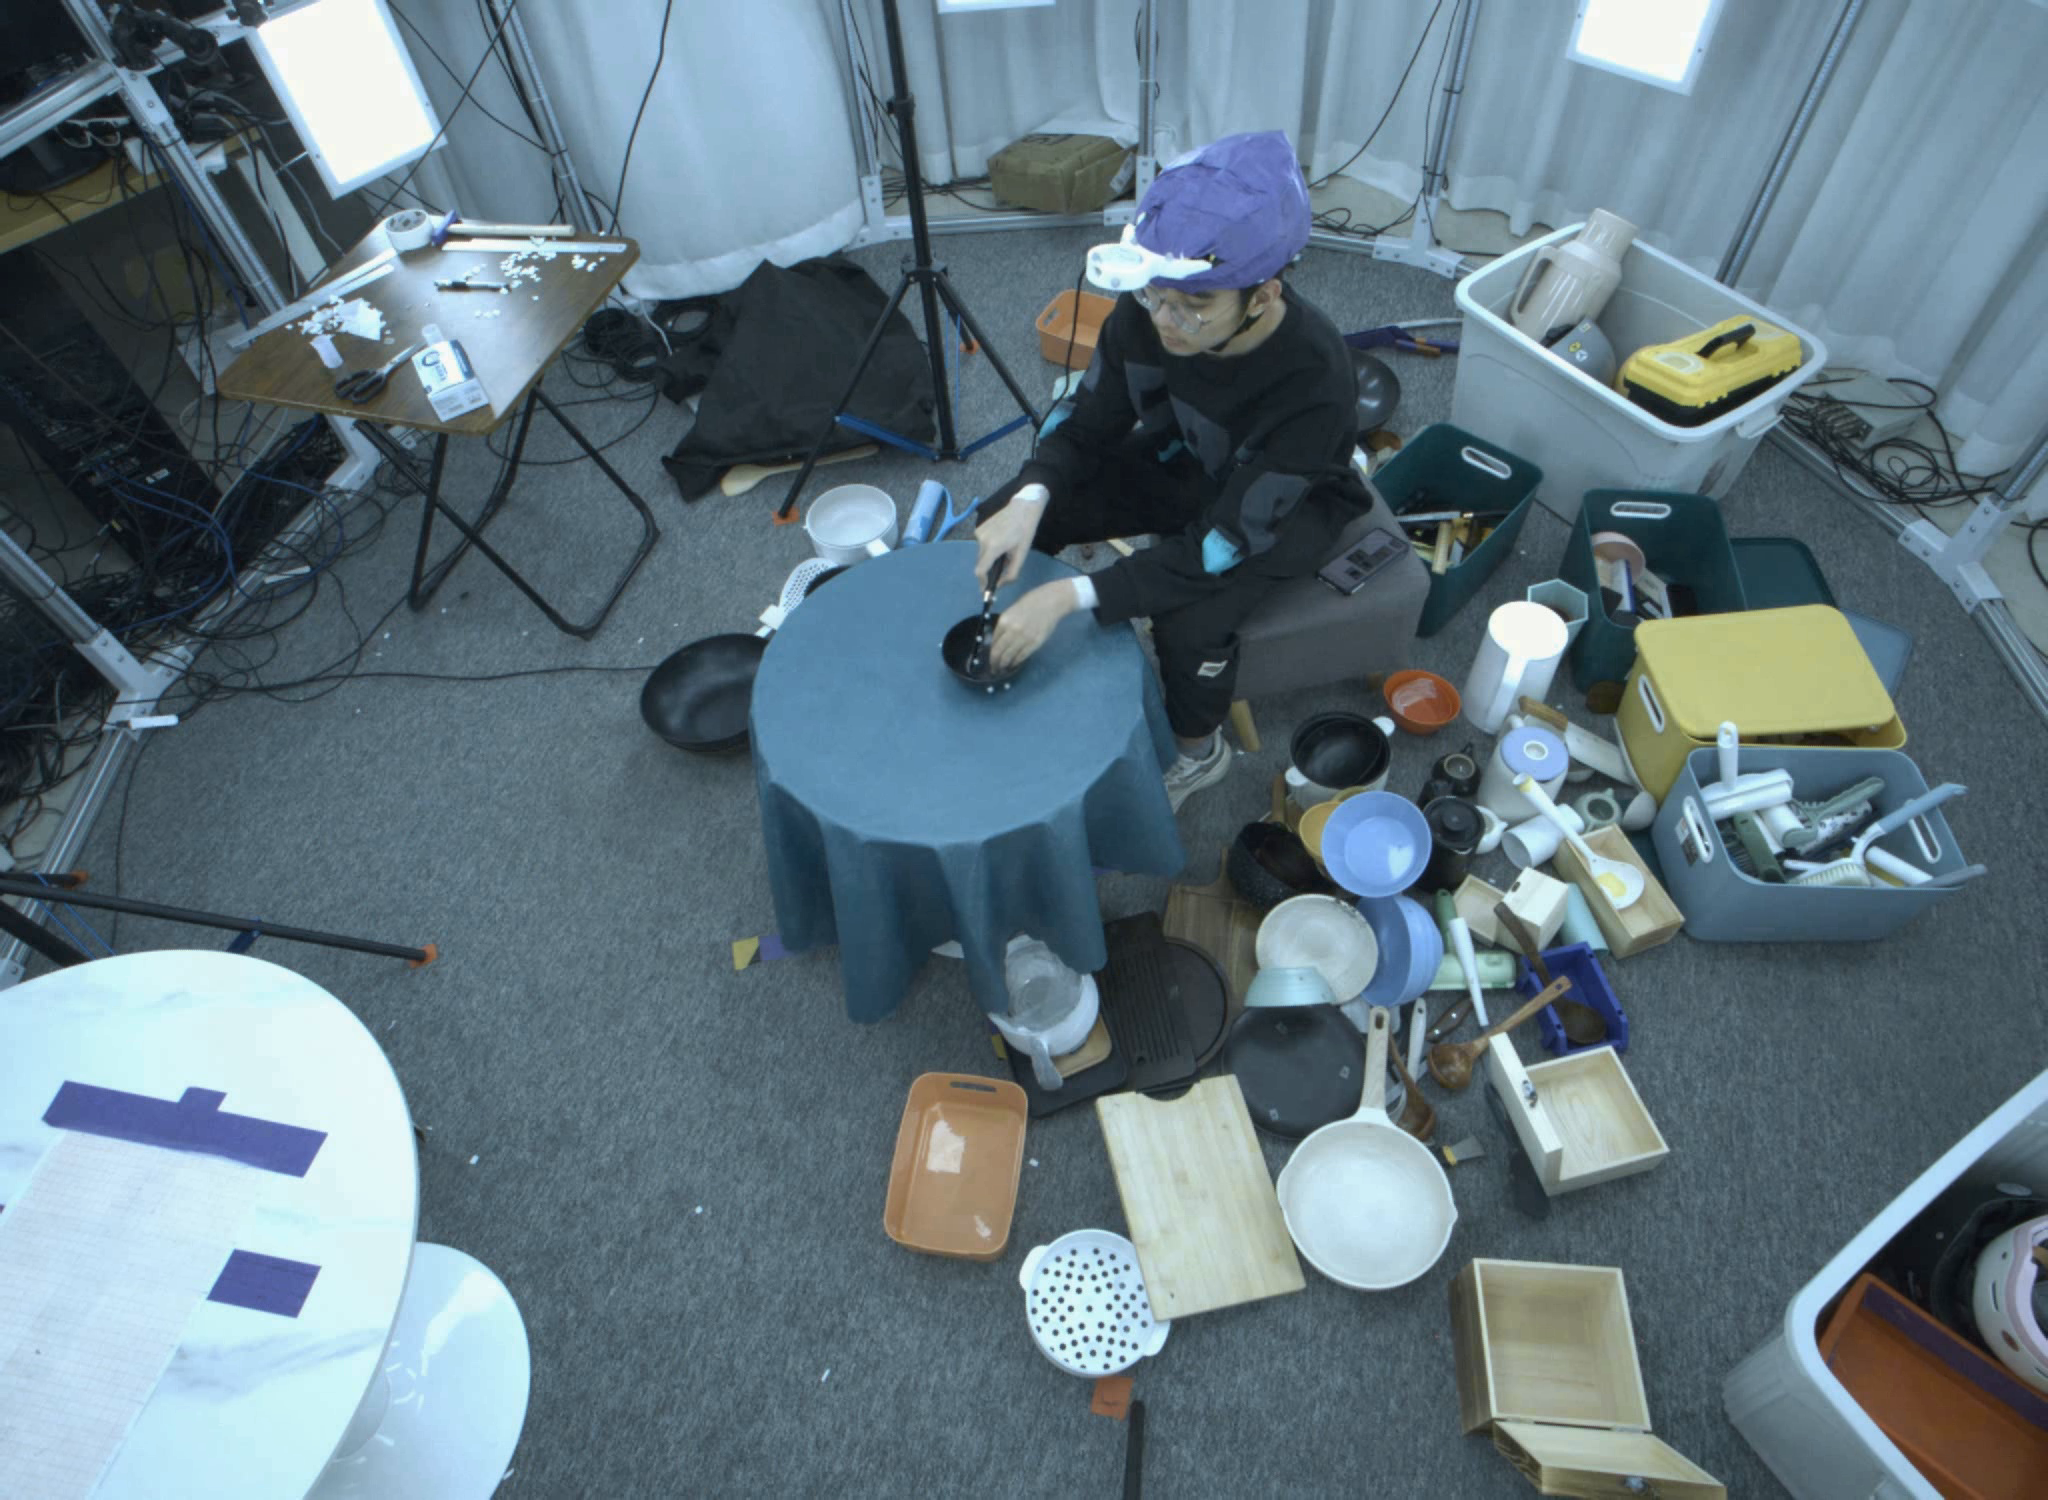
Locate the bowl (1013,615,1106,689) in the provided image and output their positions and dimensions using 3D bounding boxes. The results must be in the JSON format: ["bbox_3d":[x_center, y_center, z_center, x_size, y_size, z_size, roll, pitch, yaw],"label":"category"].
[{"bbox_3d":[0.054,-0.139,1.857,0.140,0.050,0.138,0,51,1],"label":"bowl"}]

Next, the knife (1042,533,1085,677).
[{"bbox_3d":[0.057,-0.221,1.862,0.017,0.026,0.225,15,88,23],"label":"knife"}]
